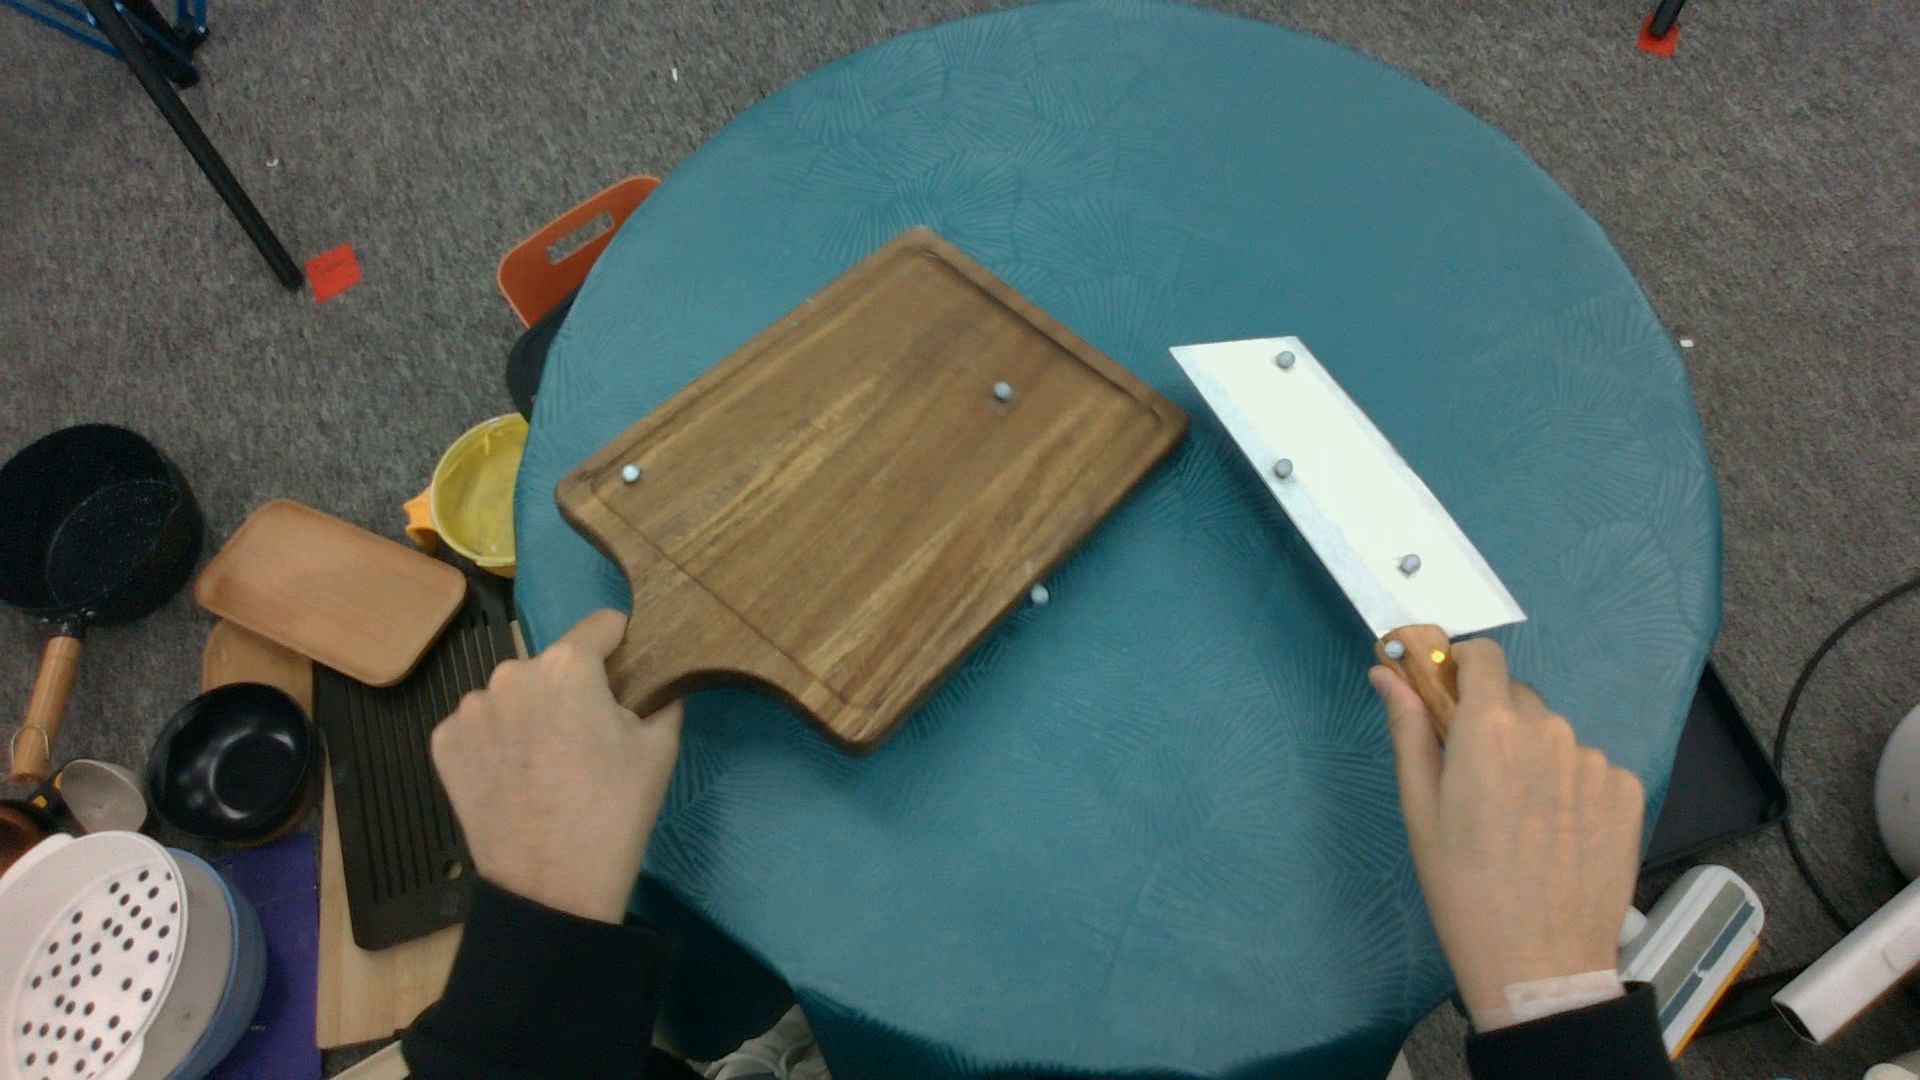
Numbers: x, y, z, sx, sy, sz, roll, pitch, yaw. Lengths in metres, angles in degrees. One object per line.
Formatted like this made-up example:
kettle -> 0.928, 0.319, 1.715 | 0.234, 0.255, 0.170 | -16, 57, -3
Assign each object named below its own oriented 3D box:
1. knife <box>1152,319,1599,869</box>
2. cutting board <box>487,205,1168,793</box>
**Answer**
knife -> 0.194, 0.005, 0.626 | 0.093, 0.021, 0.306 | -10, 55, -32
cutting board -> -0.077, -0.016, 0.642 | 0.201, 0.023, 0.353 | 36, 61, 16
